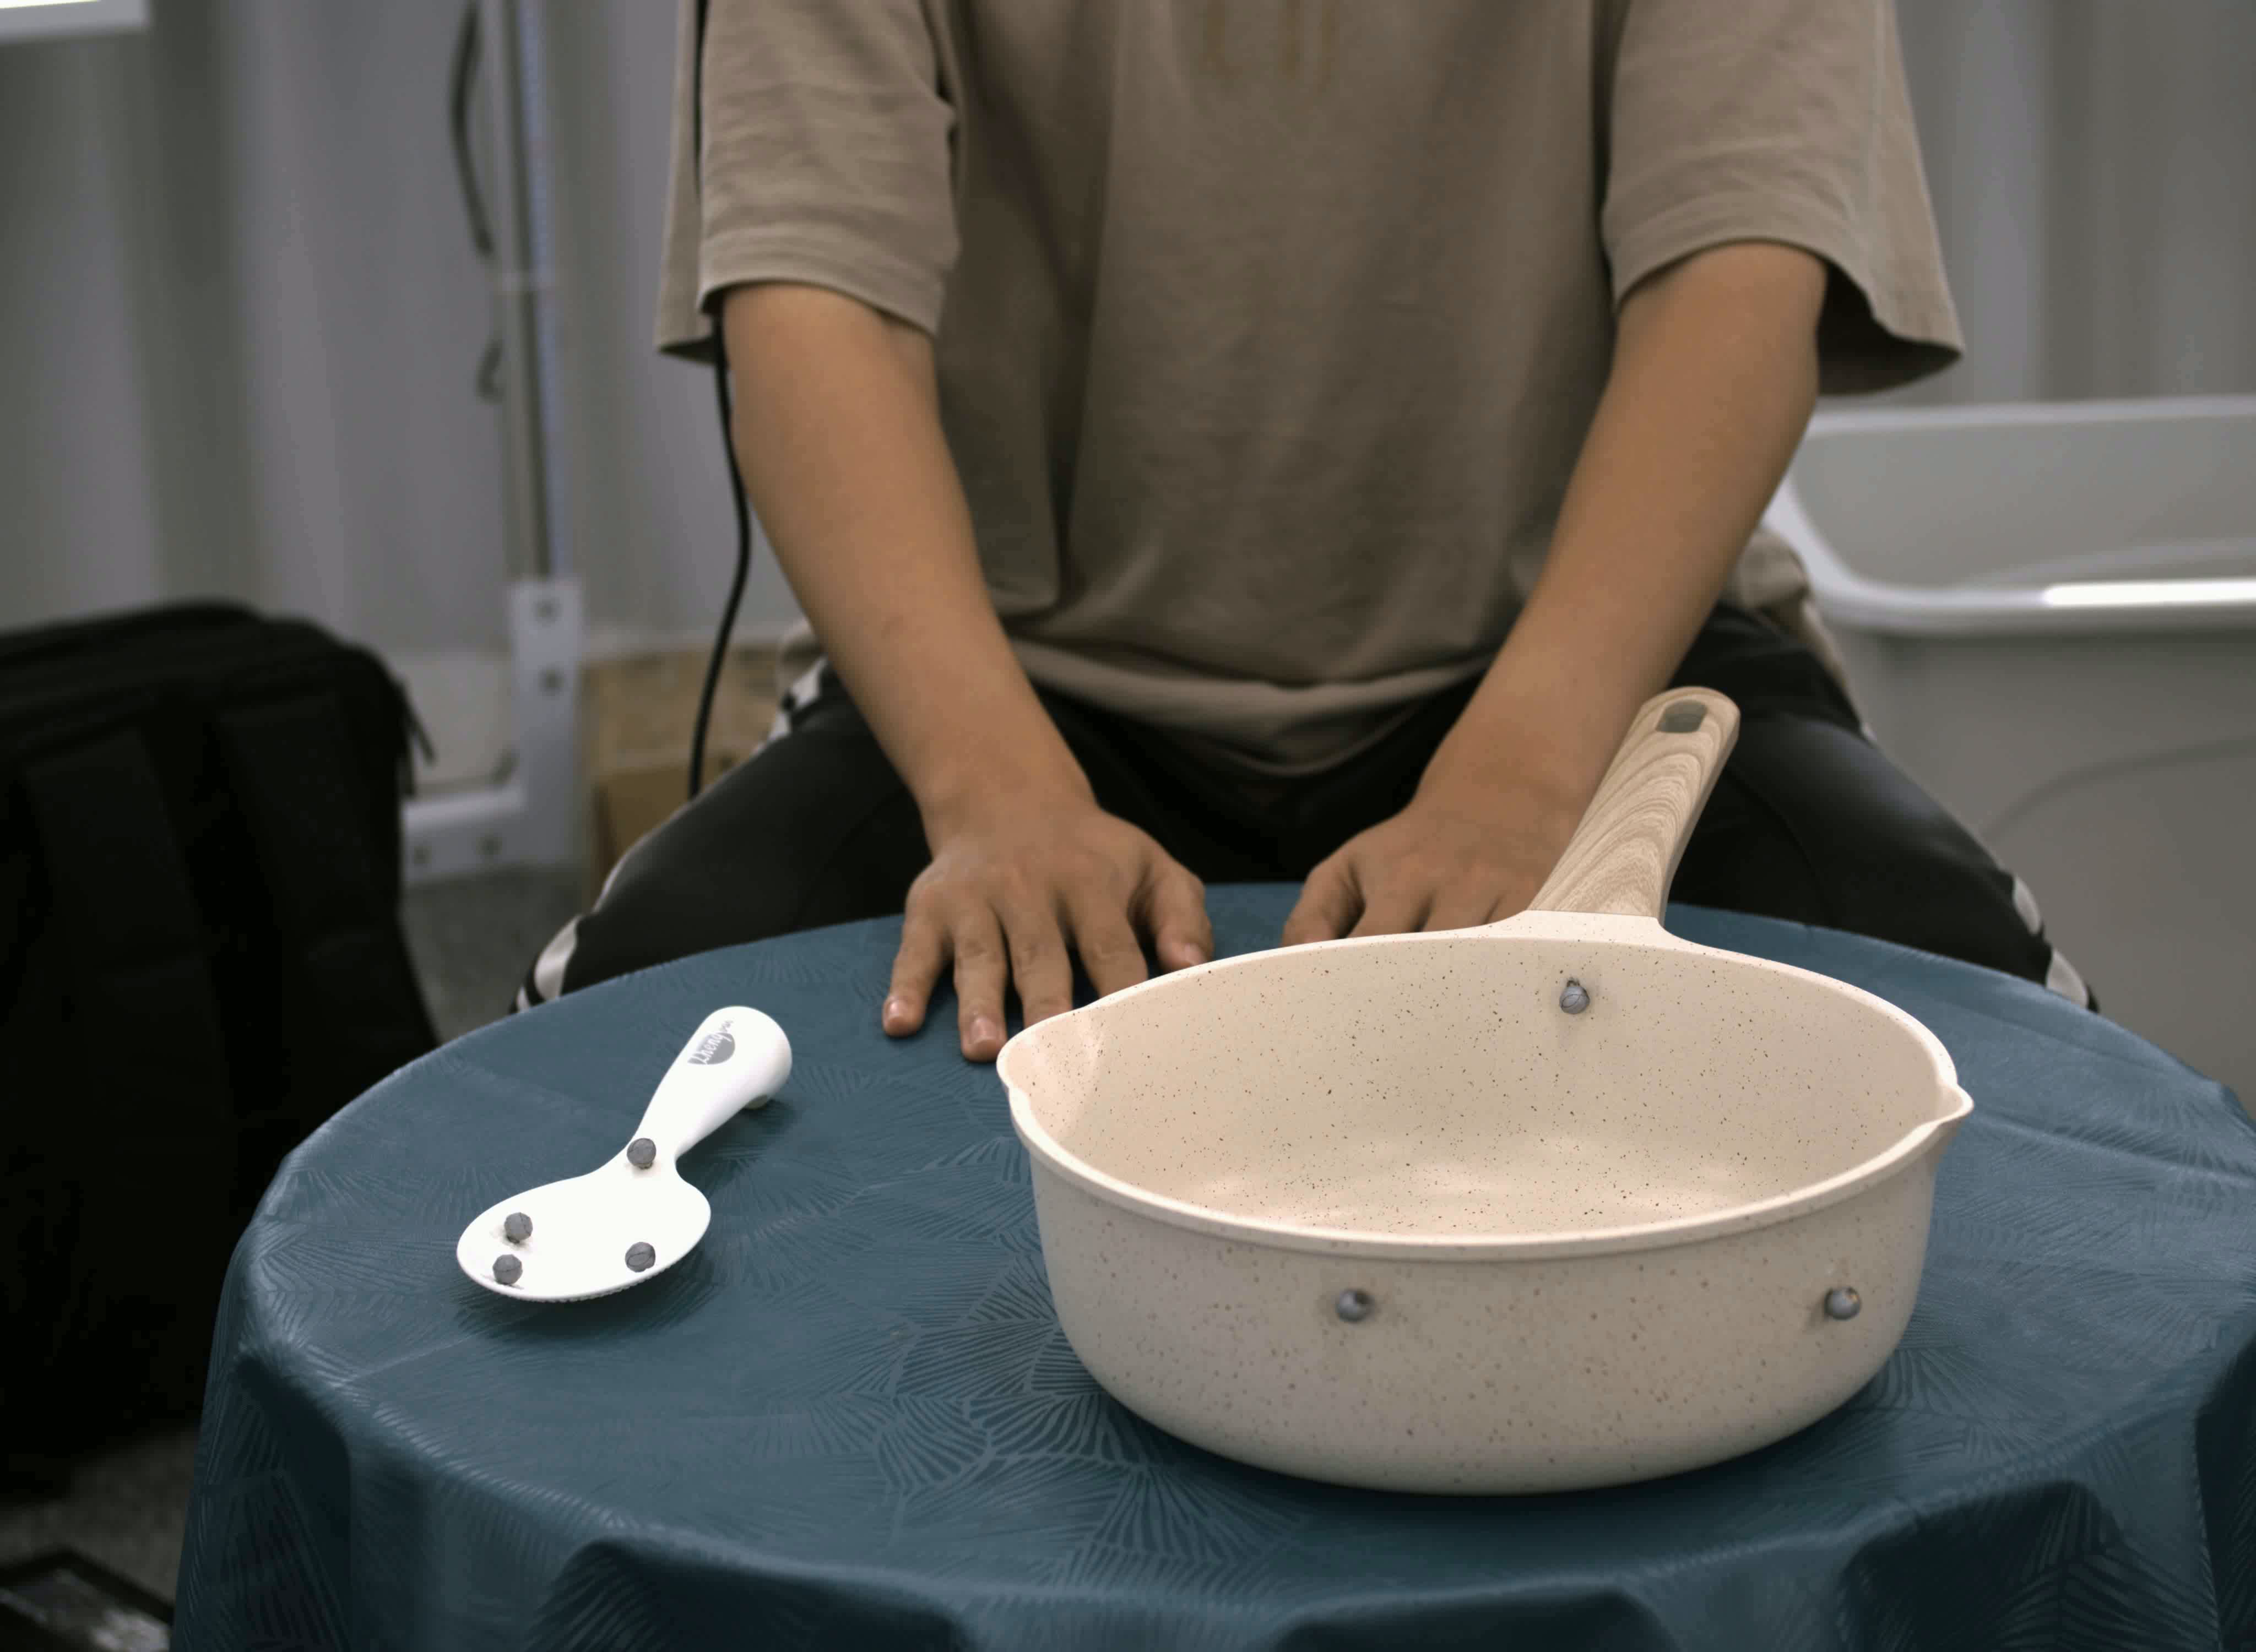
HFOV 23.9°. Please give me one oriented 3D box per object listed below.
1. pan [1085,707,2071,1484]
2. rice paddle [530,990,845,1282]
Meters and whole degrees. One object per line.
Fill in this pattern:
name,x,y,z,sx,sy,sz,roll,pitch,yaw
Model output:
pan,0.144,0.070,1.487,0.266,0.102,0.431,1,16,17
rice paddle,-0.121,0.093,1.555,0.069,0.029,0.204,-1,16,12
